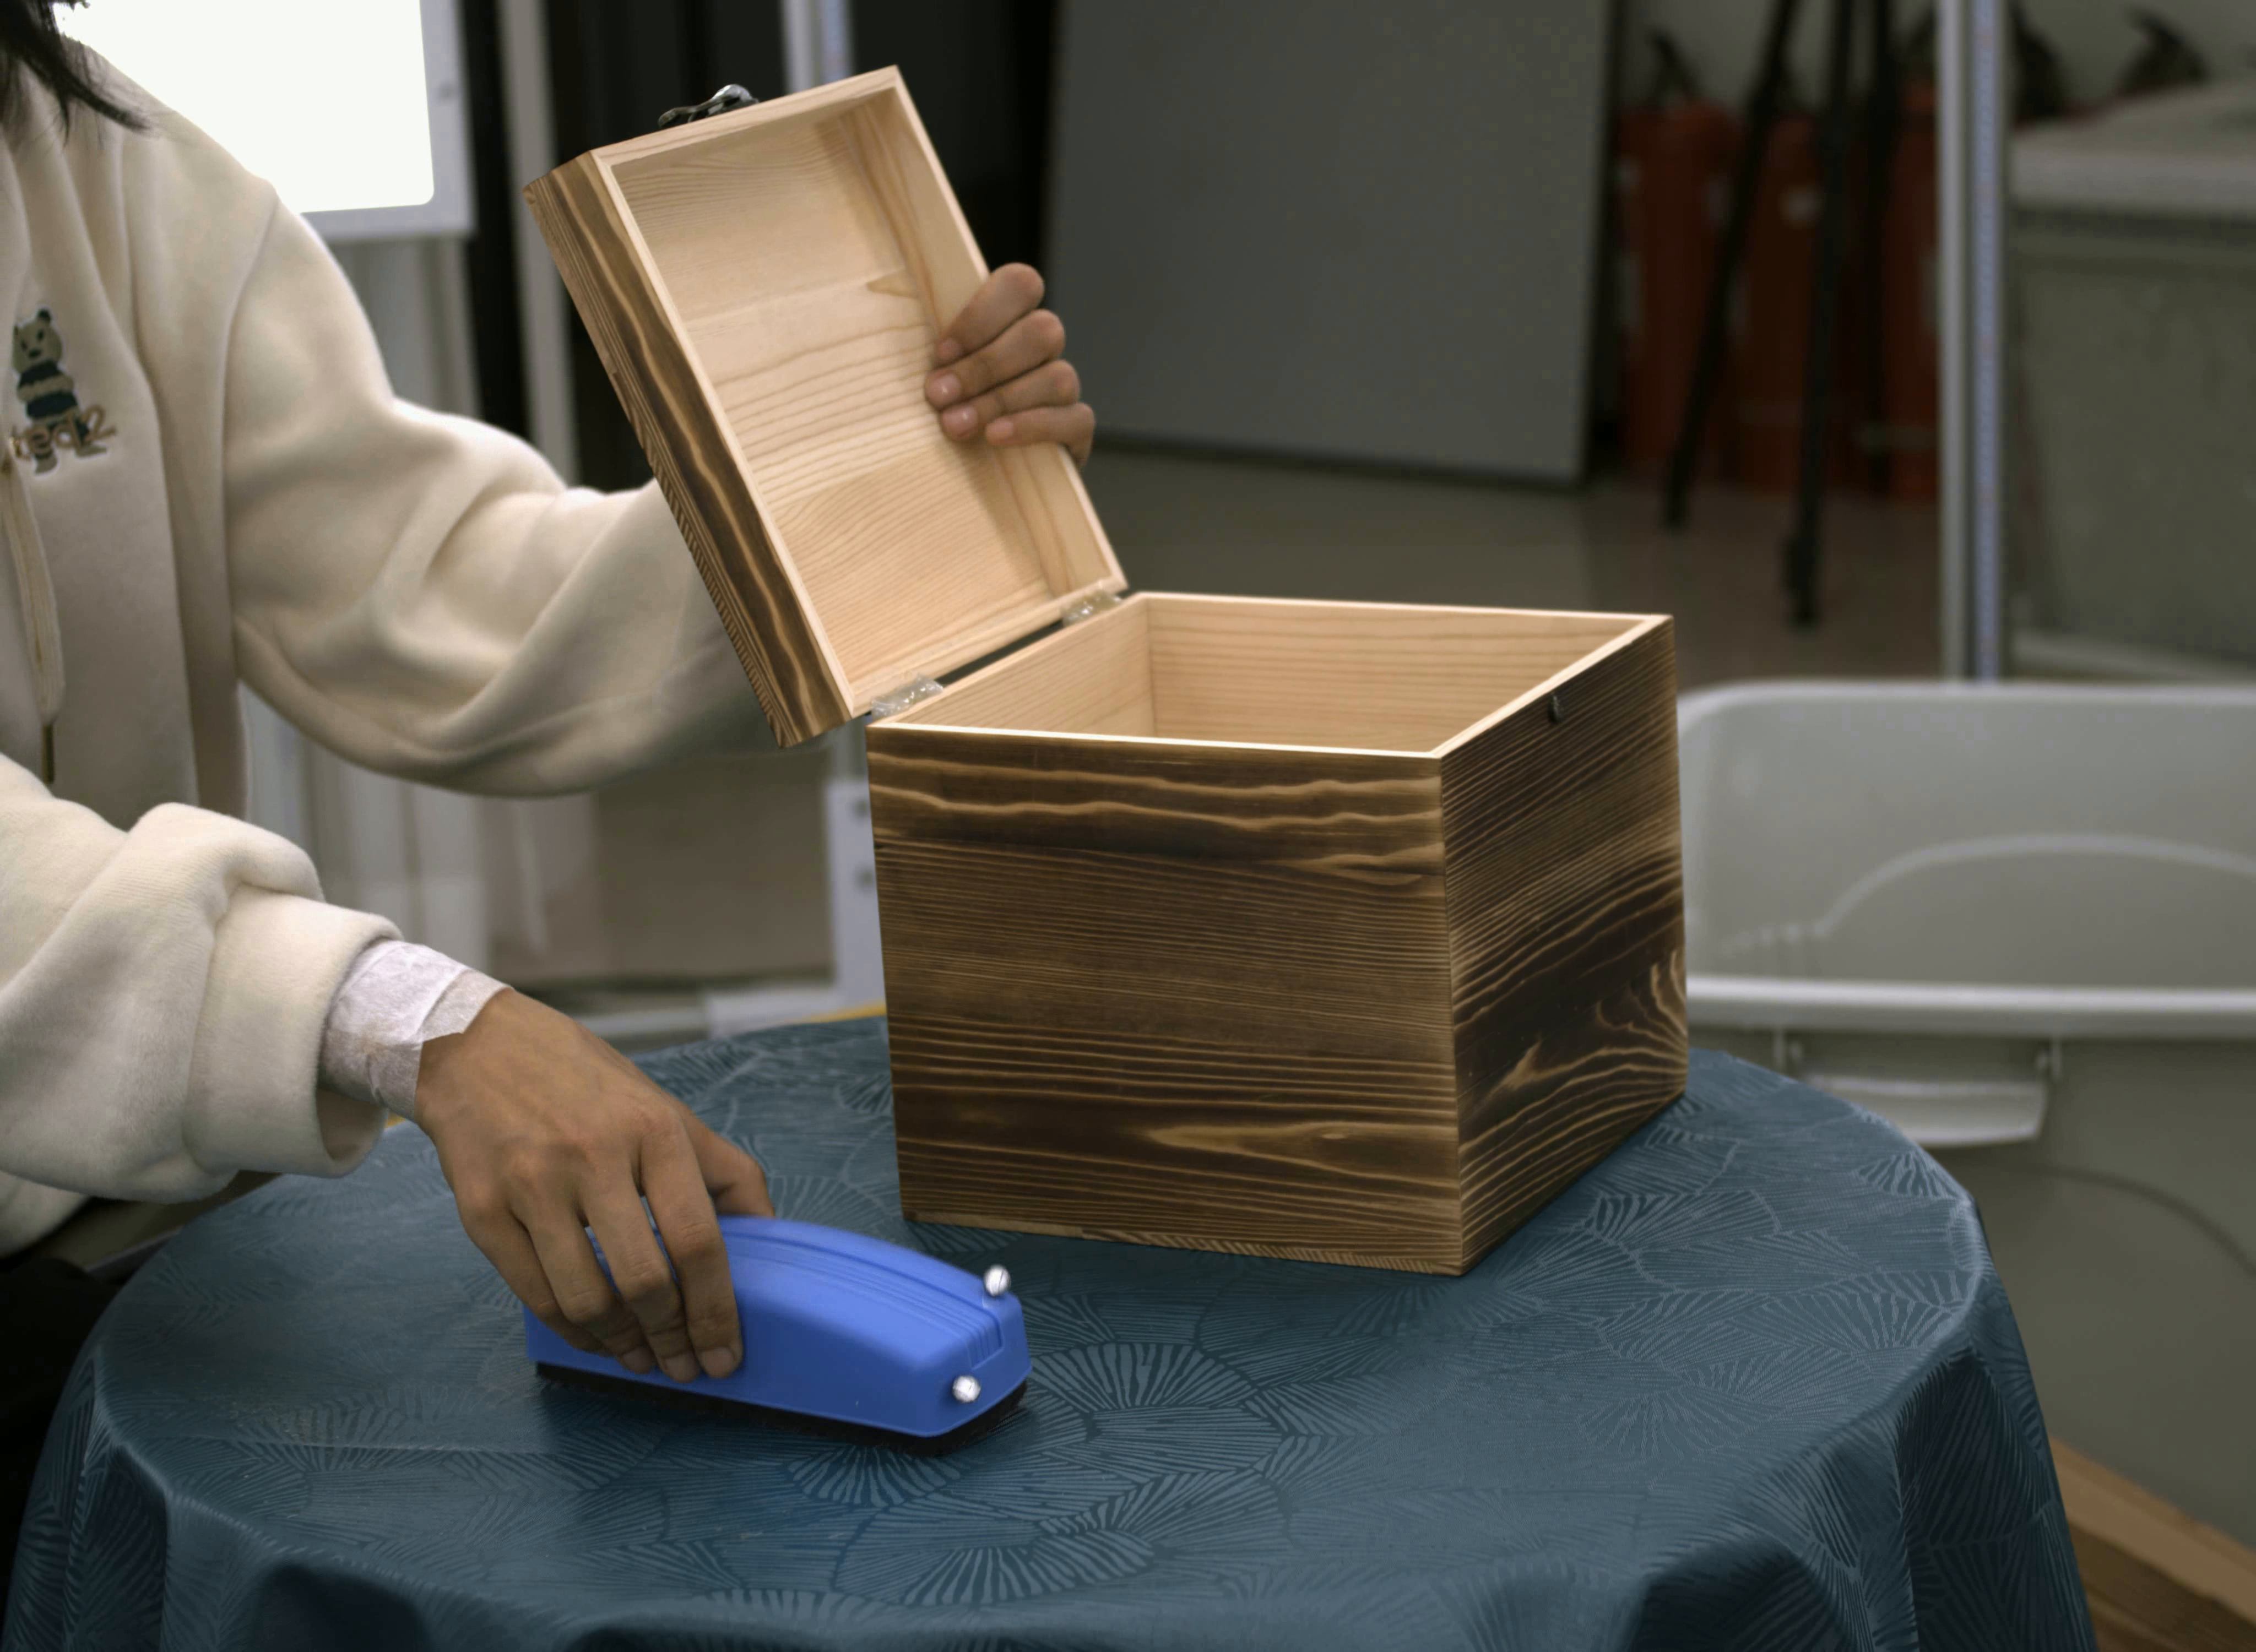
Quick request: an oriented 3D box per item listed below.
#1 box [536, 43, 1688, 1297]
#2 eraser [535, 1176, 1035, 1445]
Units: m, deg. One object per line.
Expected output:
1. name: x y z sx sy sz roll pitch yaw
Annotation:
1. box: 0.000 -0.065 1.776 0.323 0.379 0.206 2 15 28
2. eraser: -0.104 0.138 1.599 0.163 0.048 0.053 10 31 36
